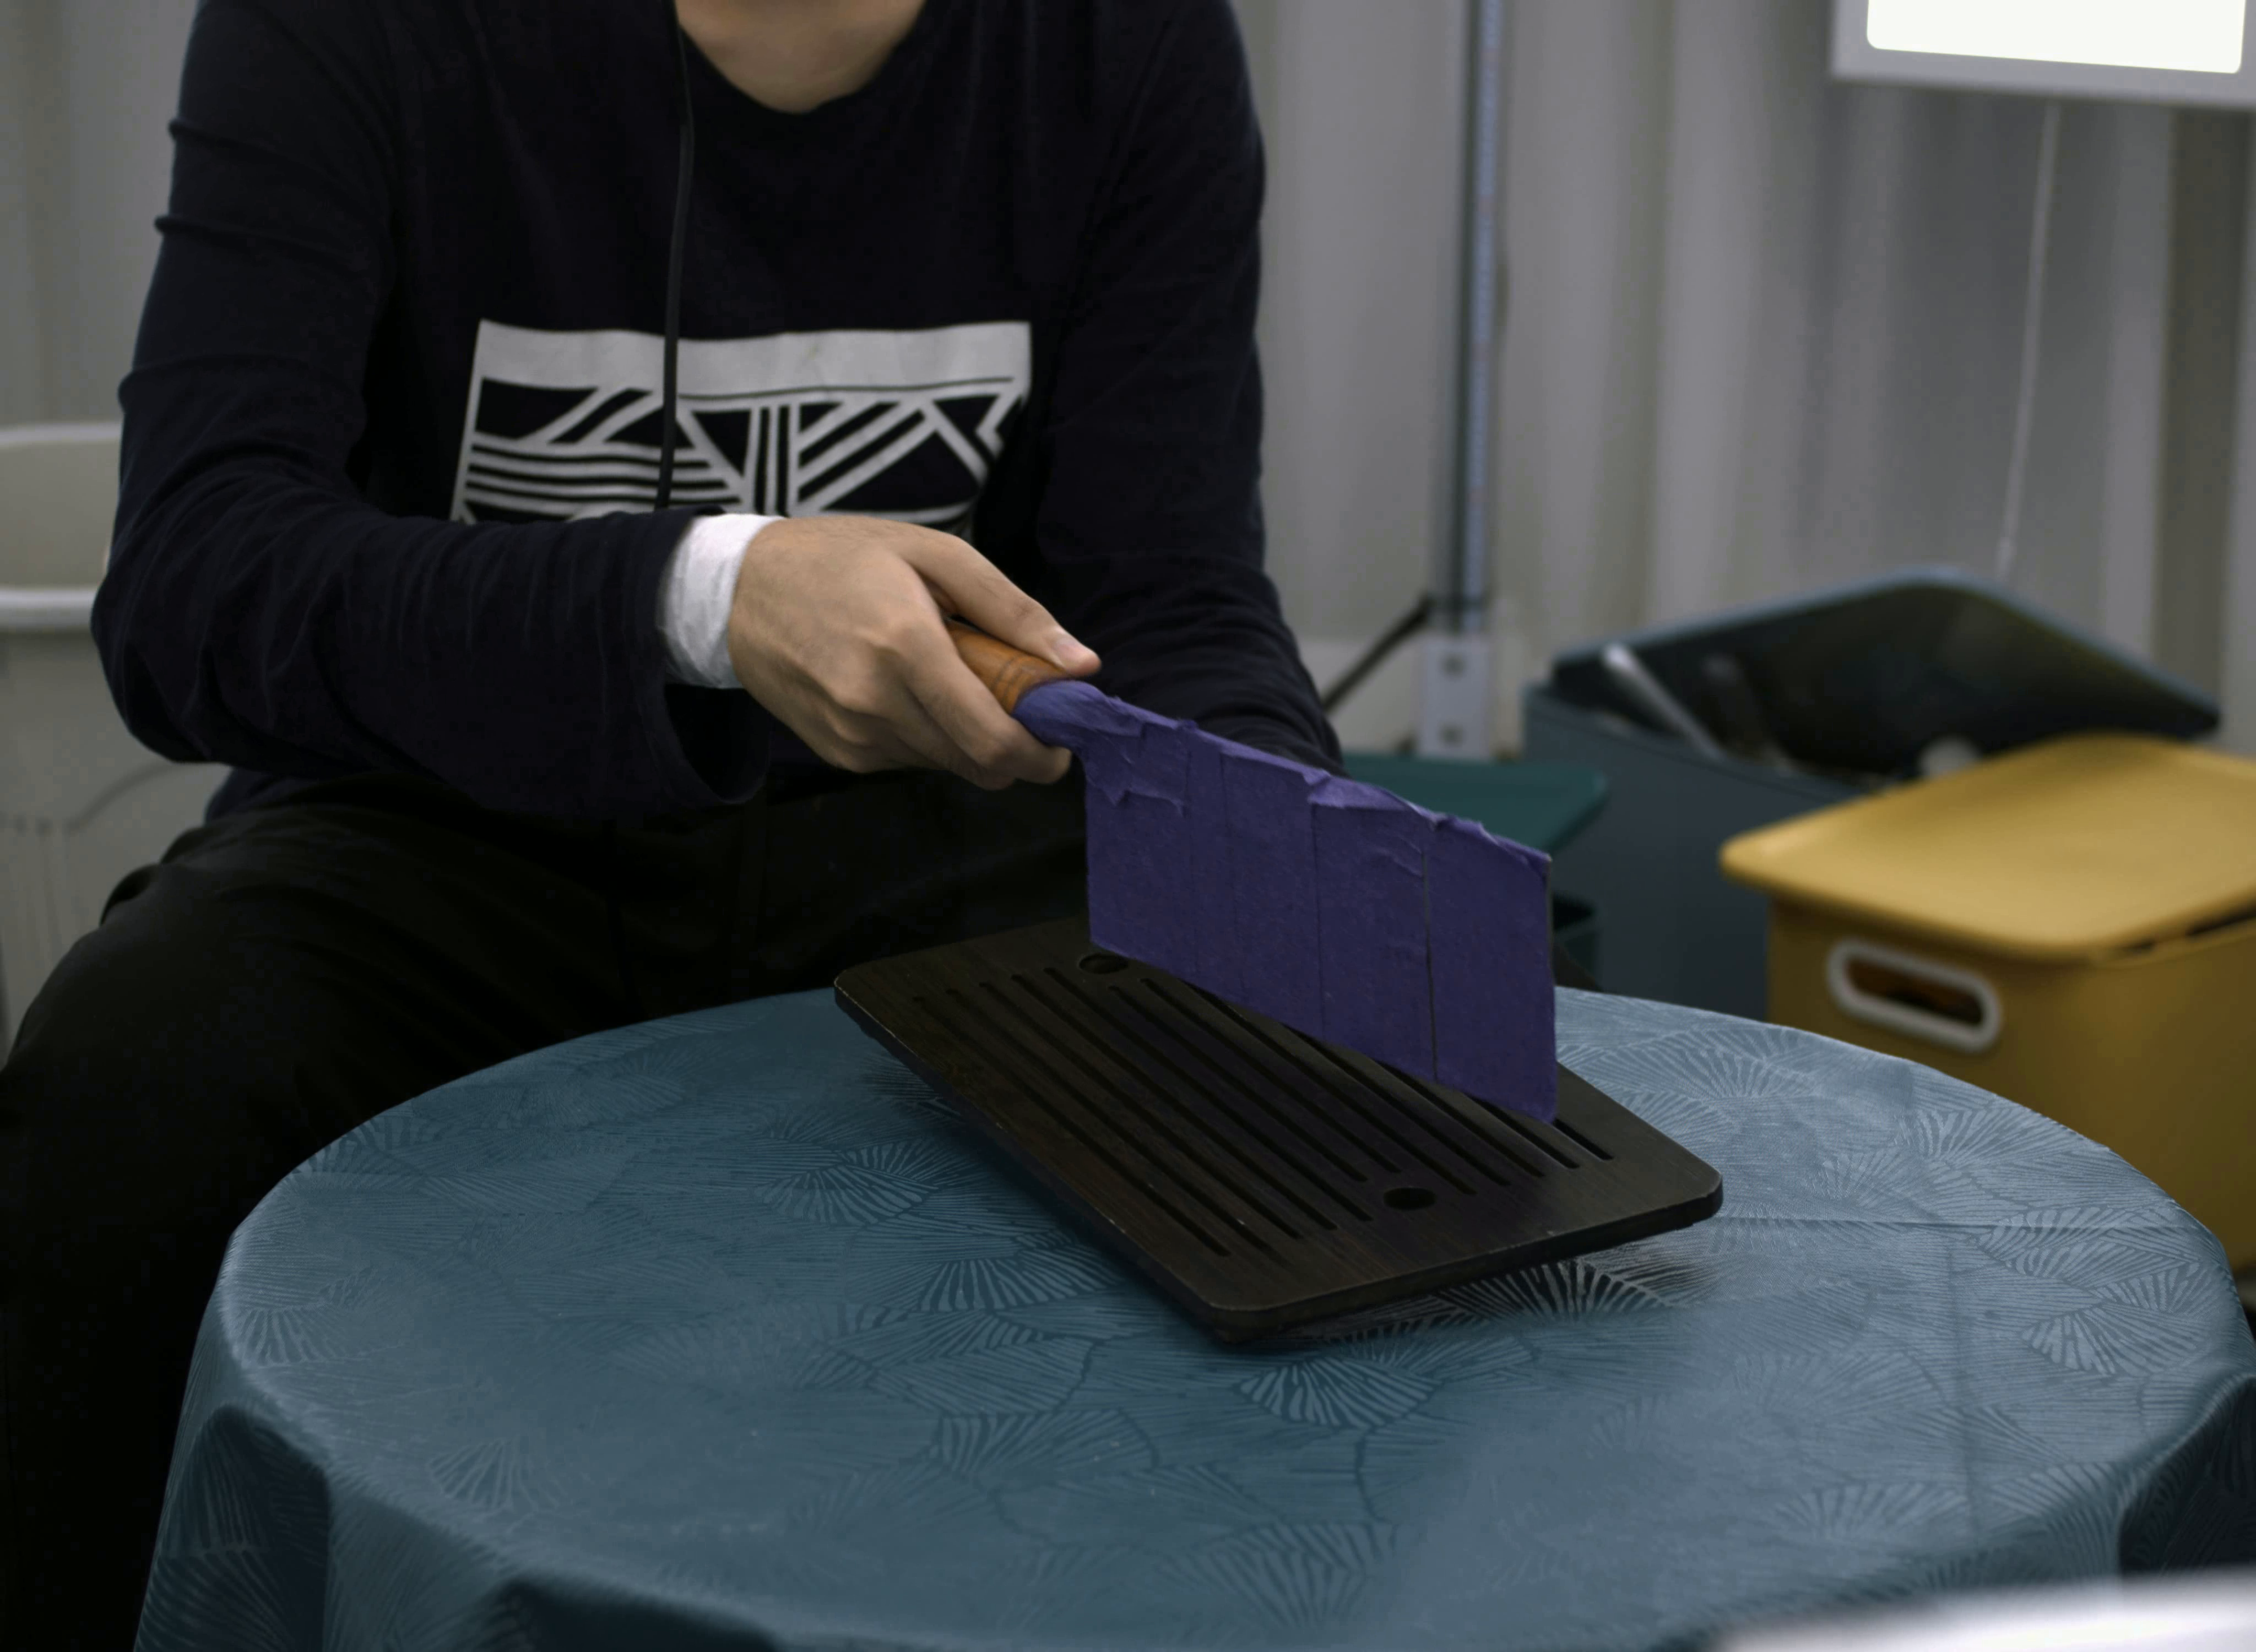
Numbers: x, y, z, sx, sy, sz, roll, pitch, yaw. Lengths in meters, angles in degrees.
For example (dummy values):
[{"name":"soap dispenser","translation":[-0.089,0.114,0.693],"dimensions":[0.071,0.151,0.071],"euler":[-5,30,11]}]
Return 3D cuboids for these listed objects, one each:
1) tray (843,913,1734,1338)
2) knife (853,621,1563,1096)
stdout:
[{"name":"tray","translation":[0.043,0.084,1.642],"dimensions":[0.170,0.019,0.302],"euler":[-12,22,-23]},{"name":"knife","translation":[0.020,0.011,1.663],"dimensions":[0.032,0.105,0.311],"euler":[-19,27,-37]}]
